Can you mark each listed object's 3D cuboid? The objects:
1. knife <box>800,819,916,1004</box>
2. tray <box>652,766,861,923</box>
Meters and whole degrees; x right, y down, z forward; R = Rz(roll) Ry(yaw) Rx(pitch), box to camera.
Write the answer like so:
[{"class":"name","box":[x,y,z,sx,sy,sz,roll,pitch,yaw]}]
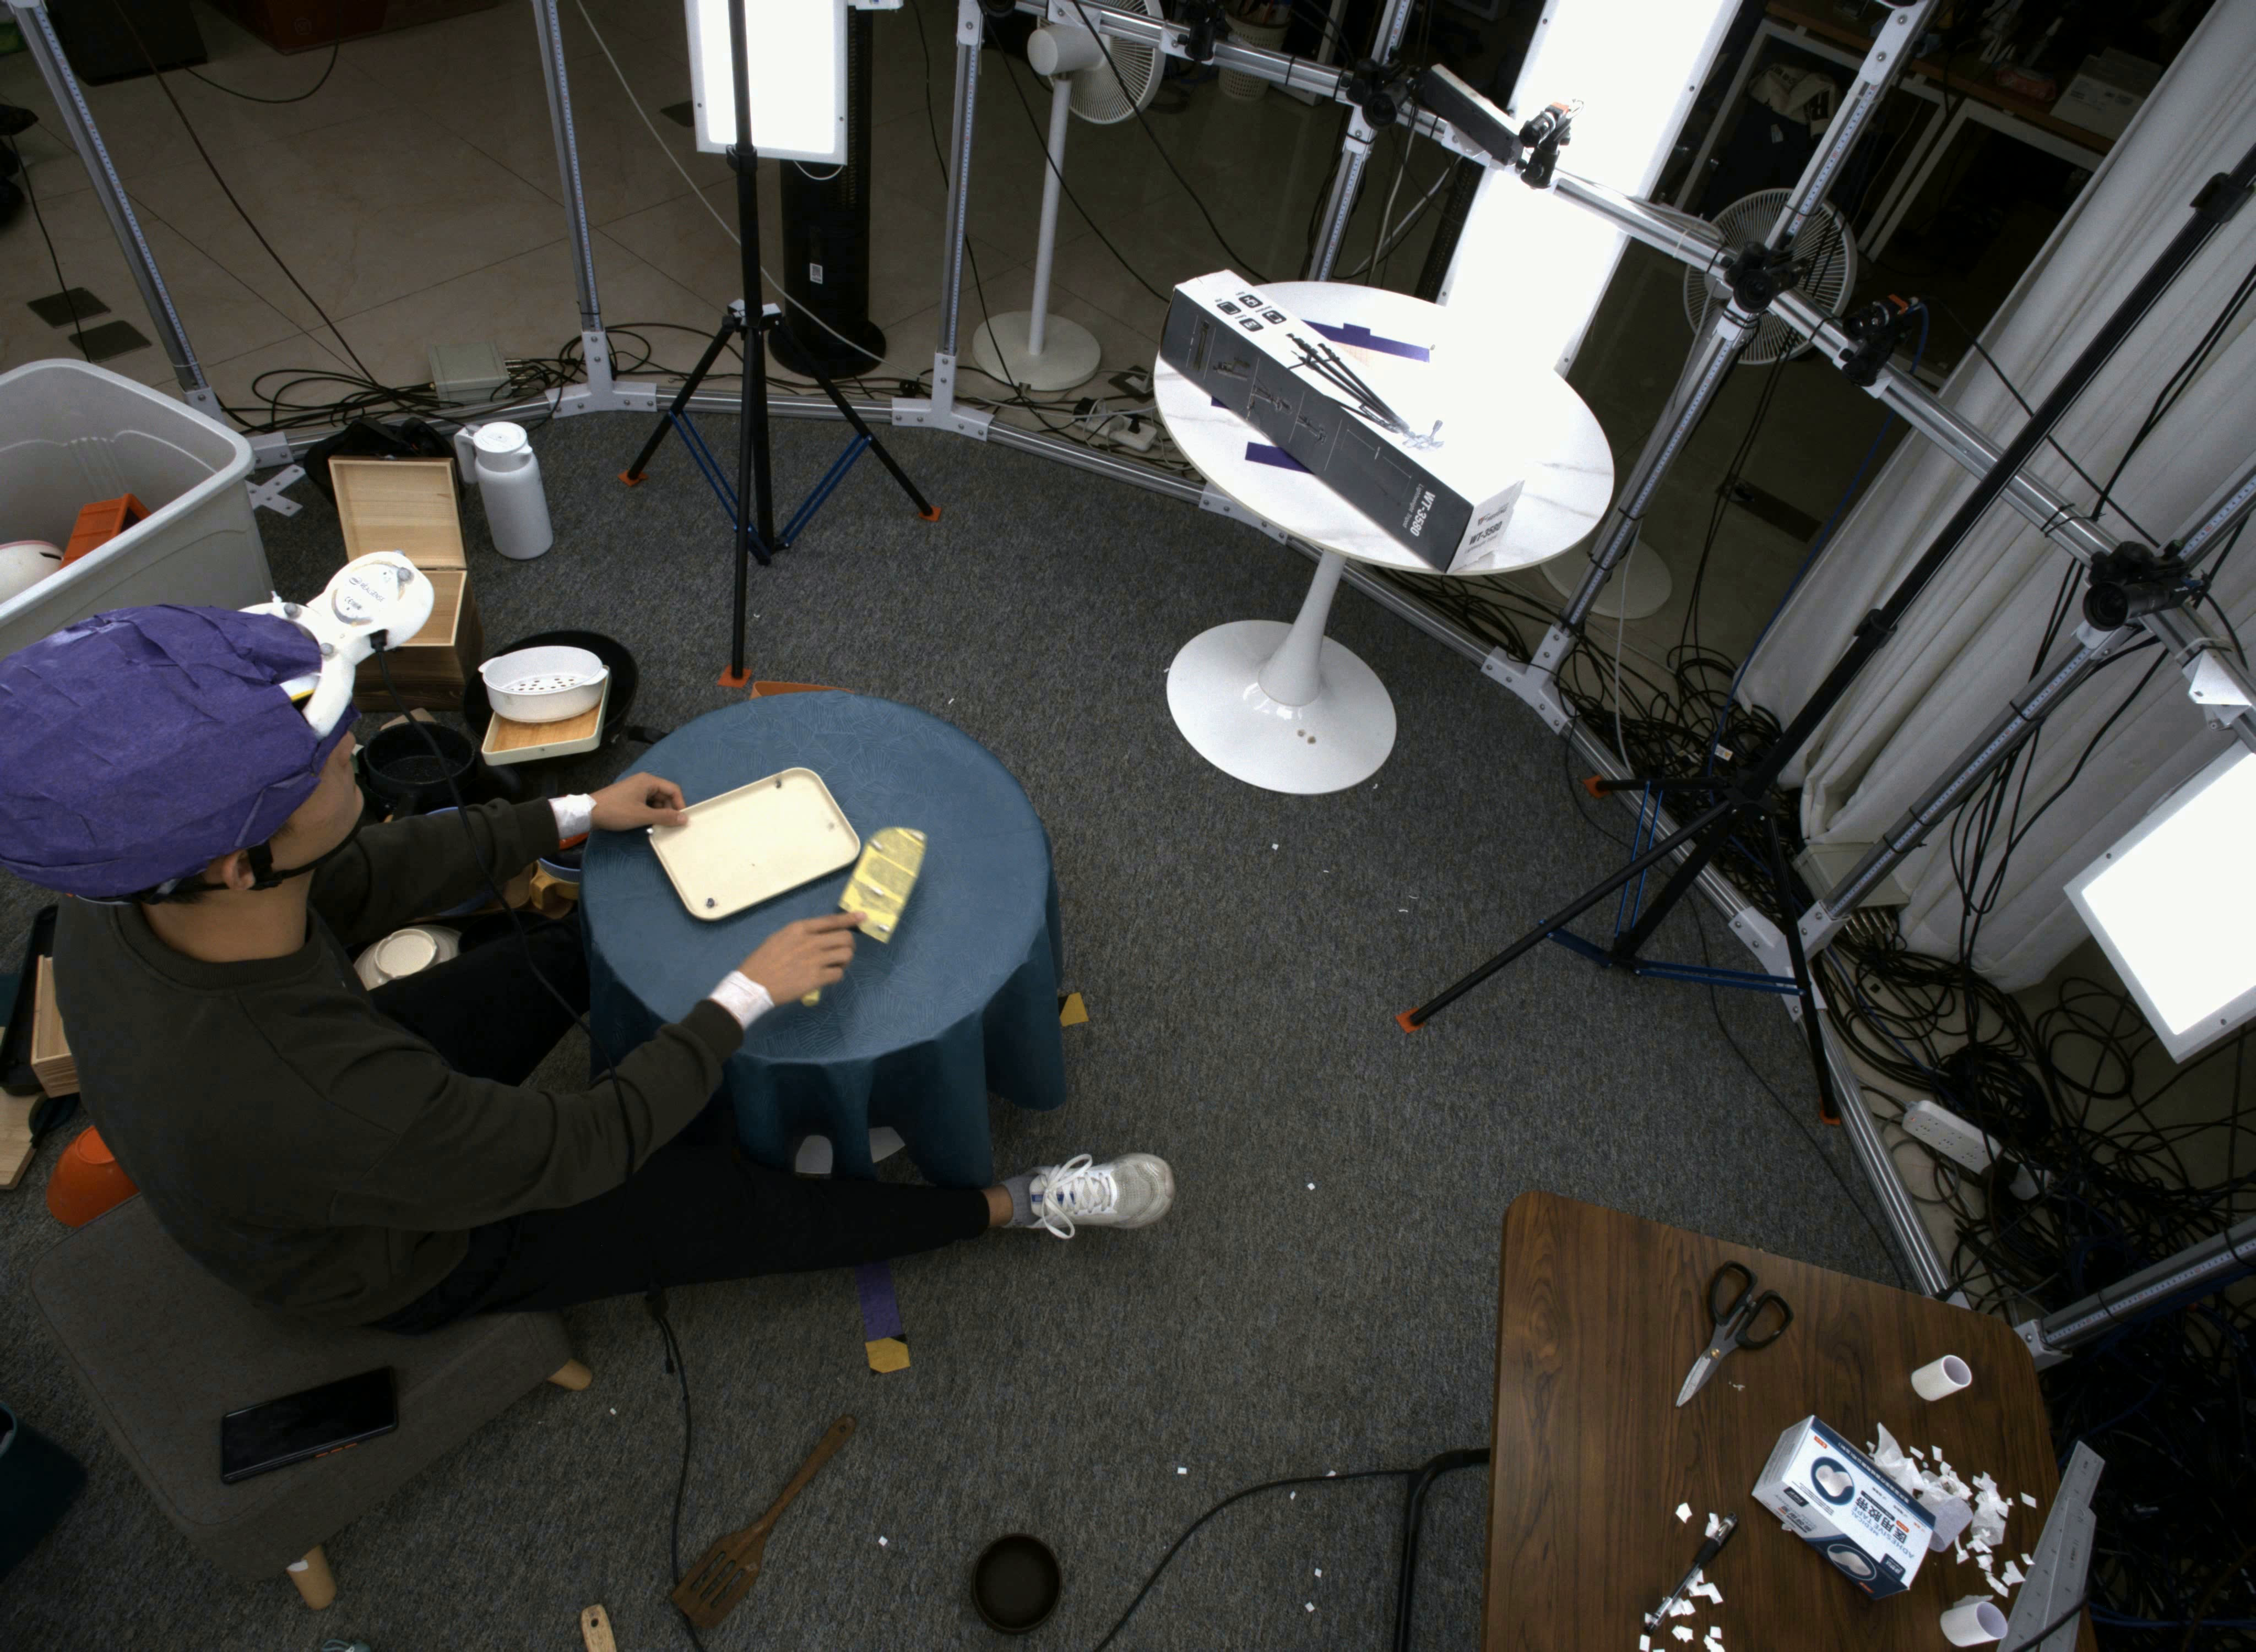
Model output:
[{"class":"knife","box":[-0.329,0.100,1.600,0.082,0.027,0.287,34,52,-17]},{"class":"tray","box":[-0.483,0.021,1.687,0.241,0.018,0.168,-25,69,-29]}]
